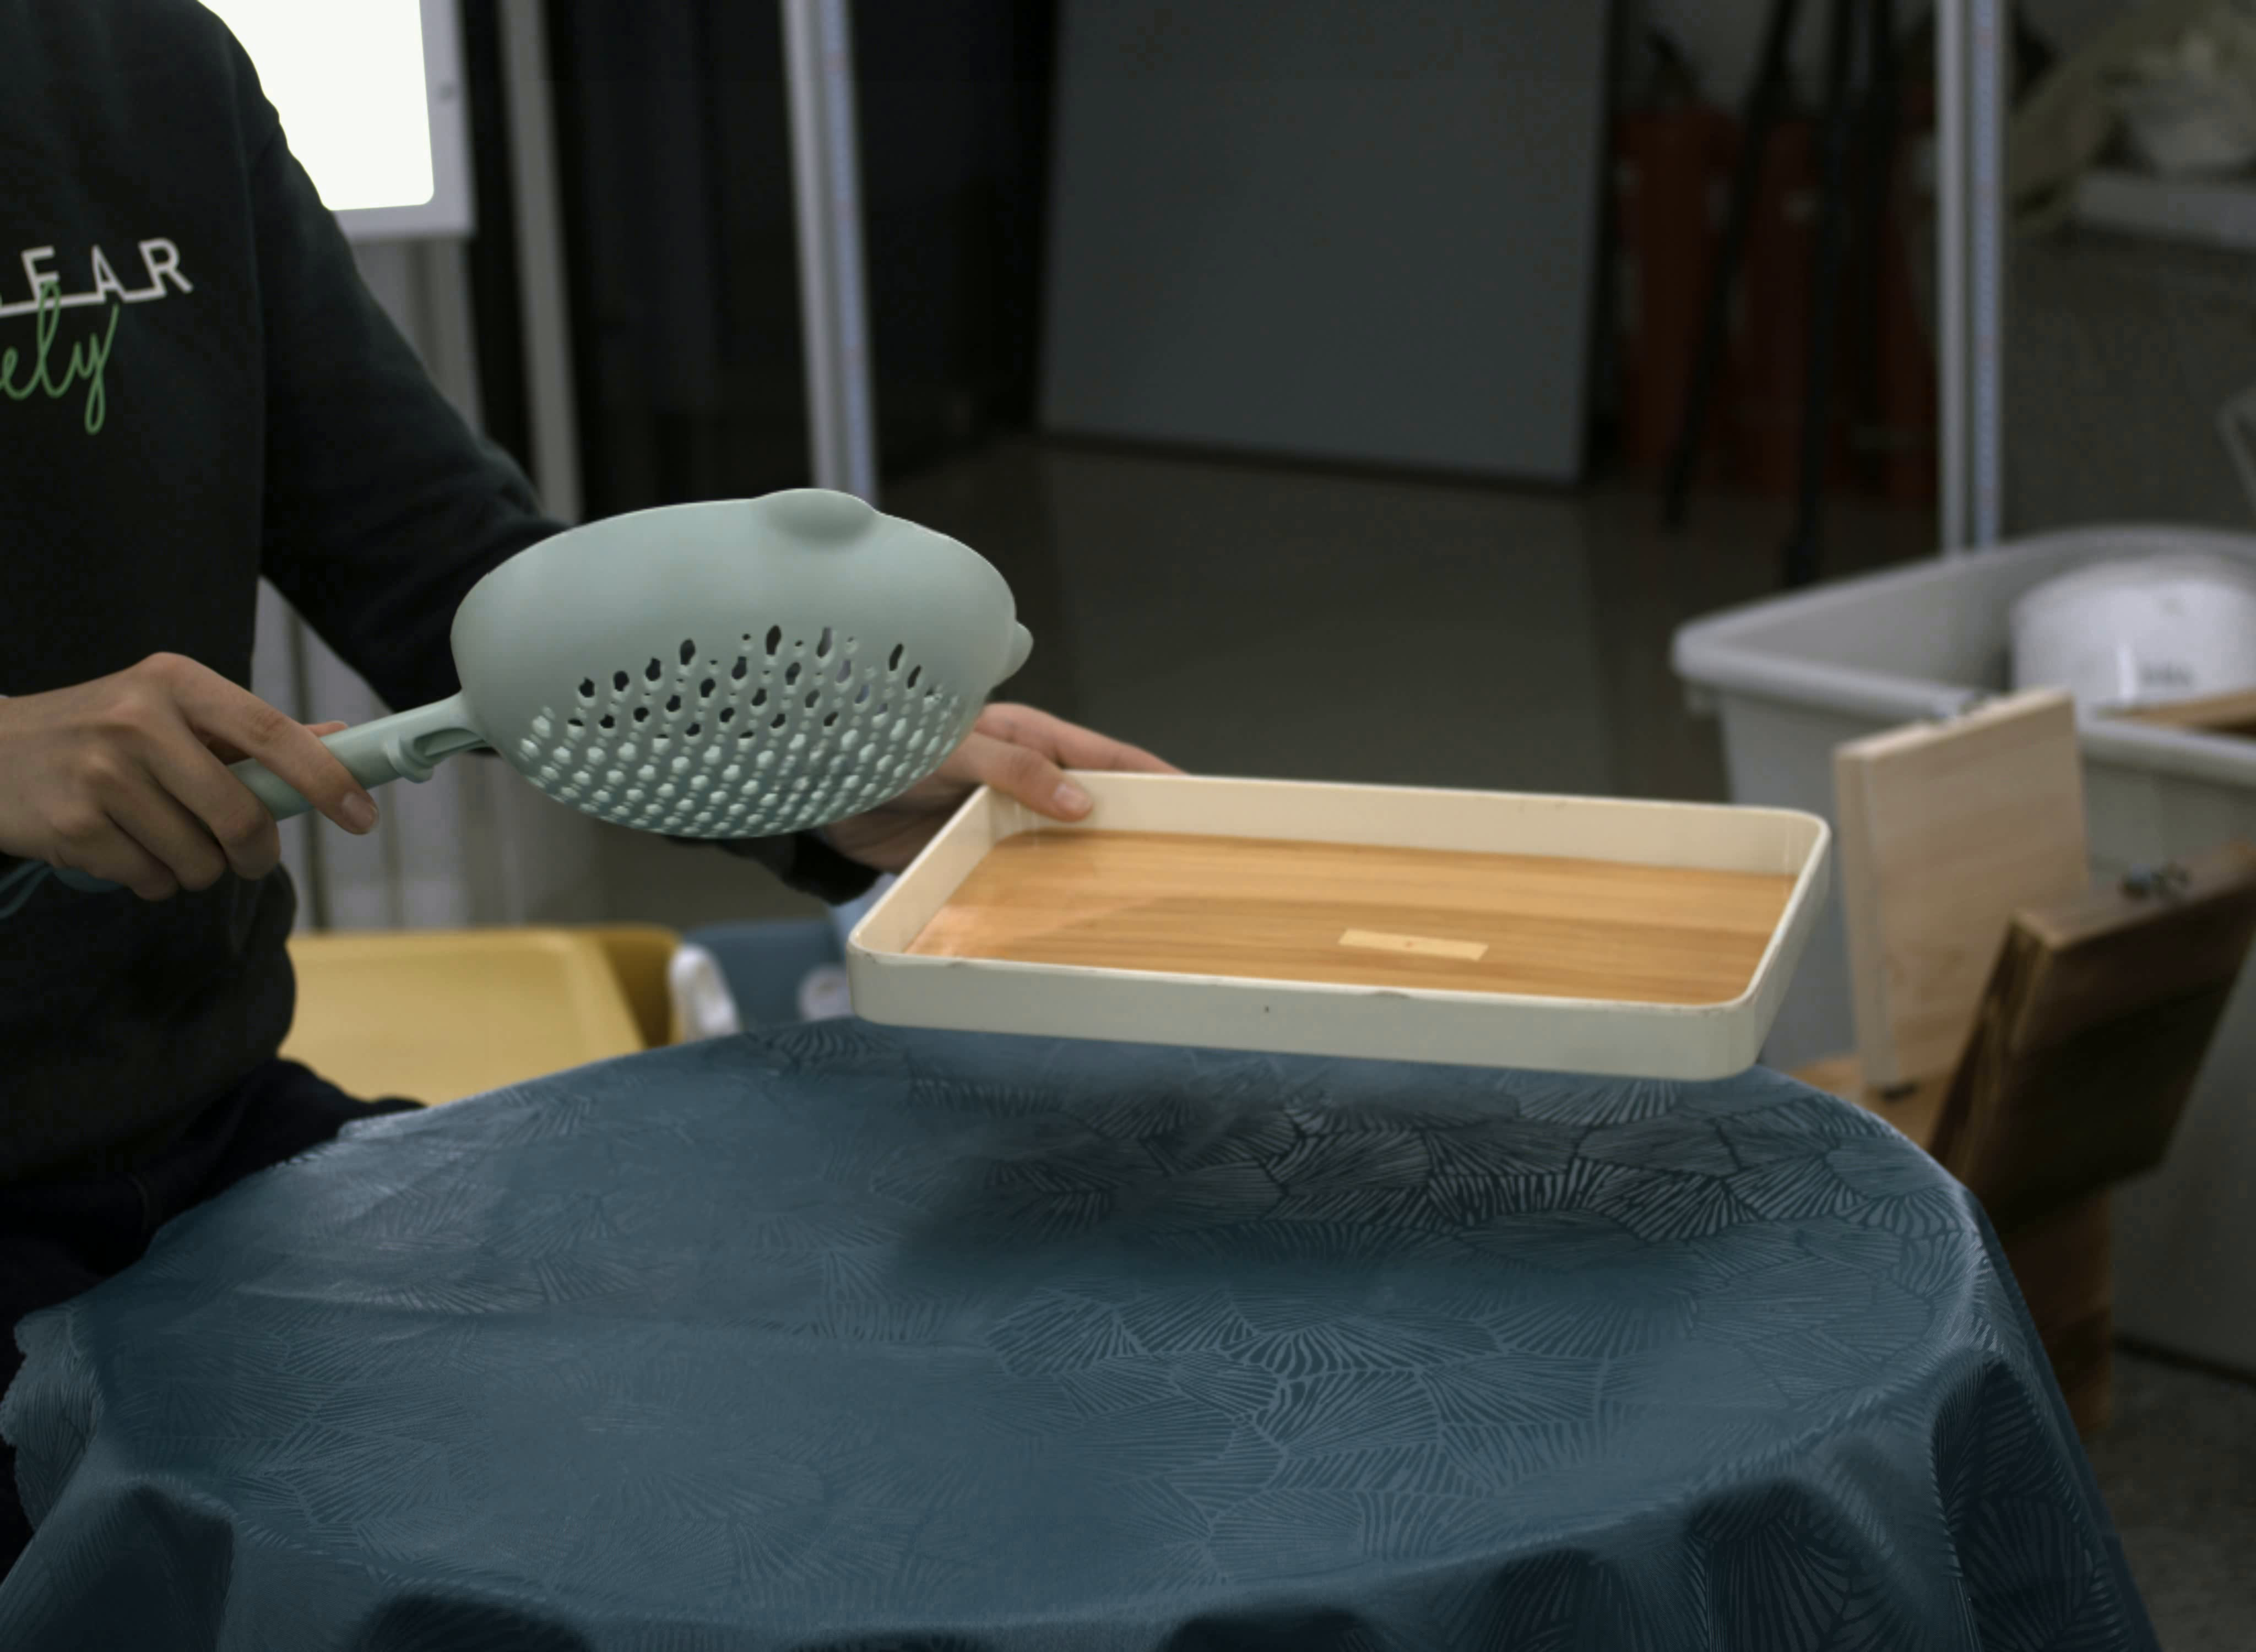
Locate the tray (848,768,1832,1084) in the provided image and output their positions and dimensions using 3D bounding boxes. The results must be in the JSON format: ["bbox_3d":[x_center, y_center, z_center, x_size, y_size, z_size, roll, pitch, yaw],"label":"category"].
[{"bbox_3d":[0.073,0.031,1.774,0.299,0.028,0.190,4,20,17],"label":"tray"}]

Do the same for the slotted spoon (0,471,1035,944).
[{"bbox_3d":[-0.201,-0.024,1.652,0.359,0.076,0.167,-9,-25,26],"label":"slotted spoon"}]
